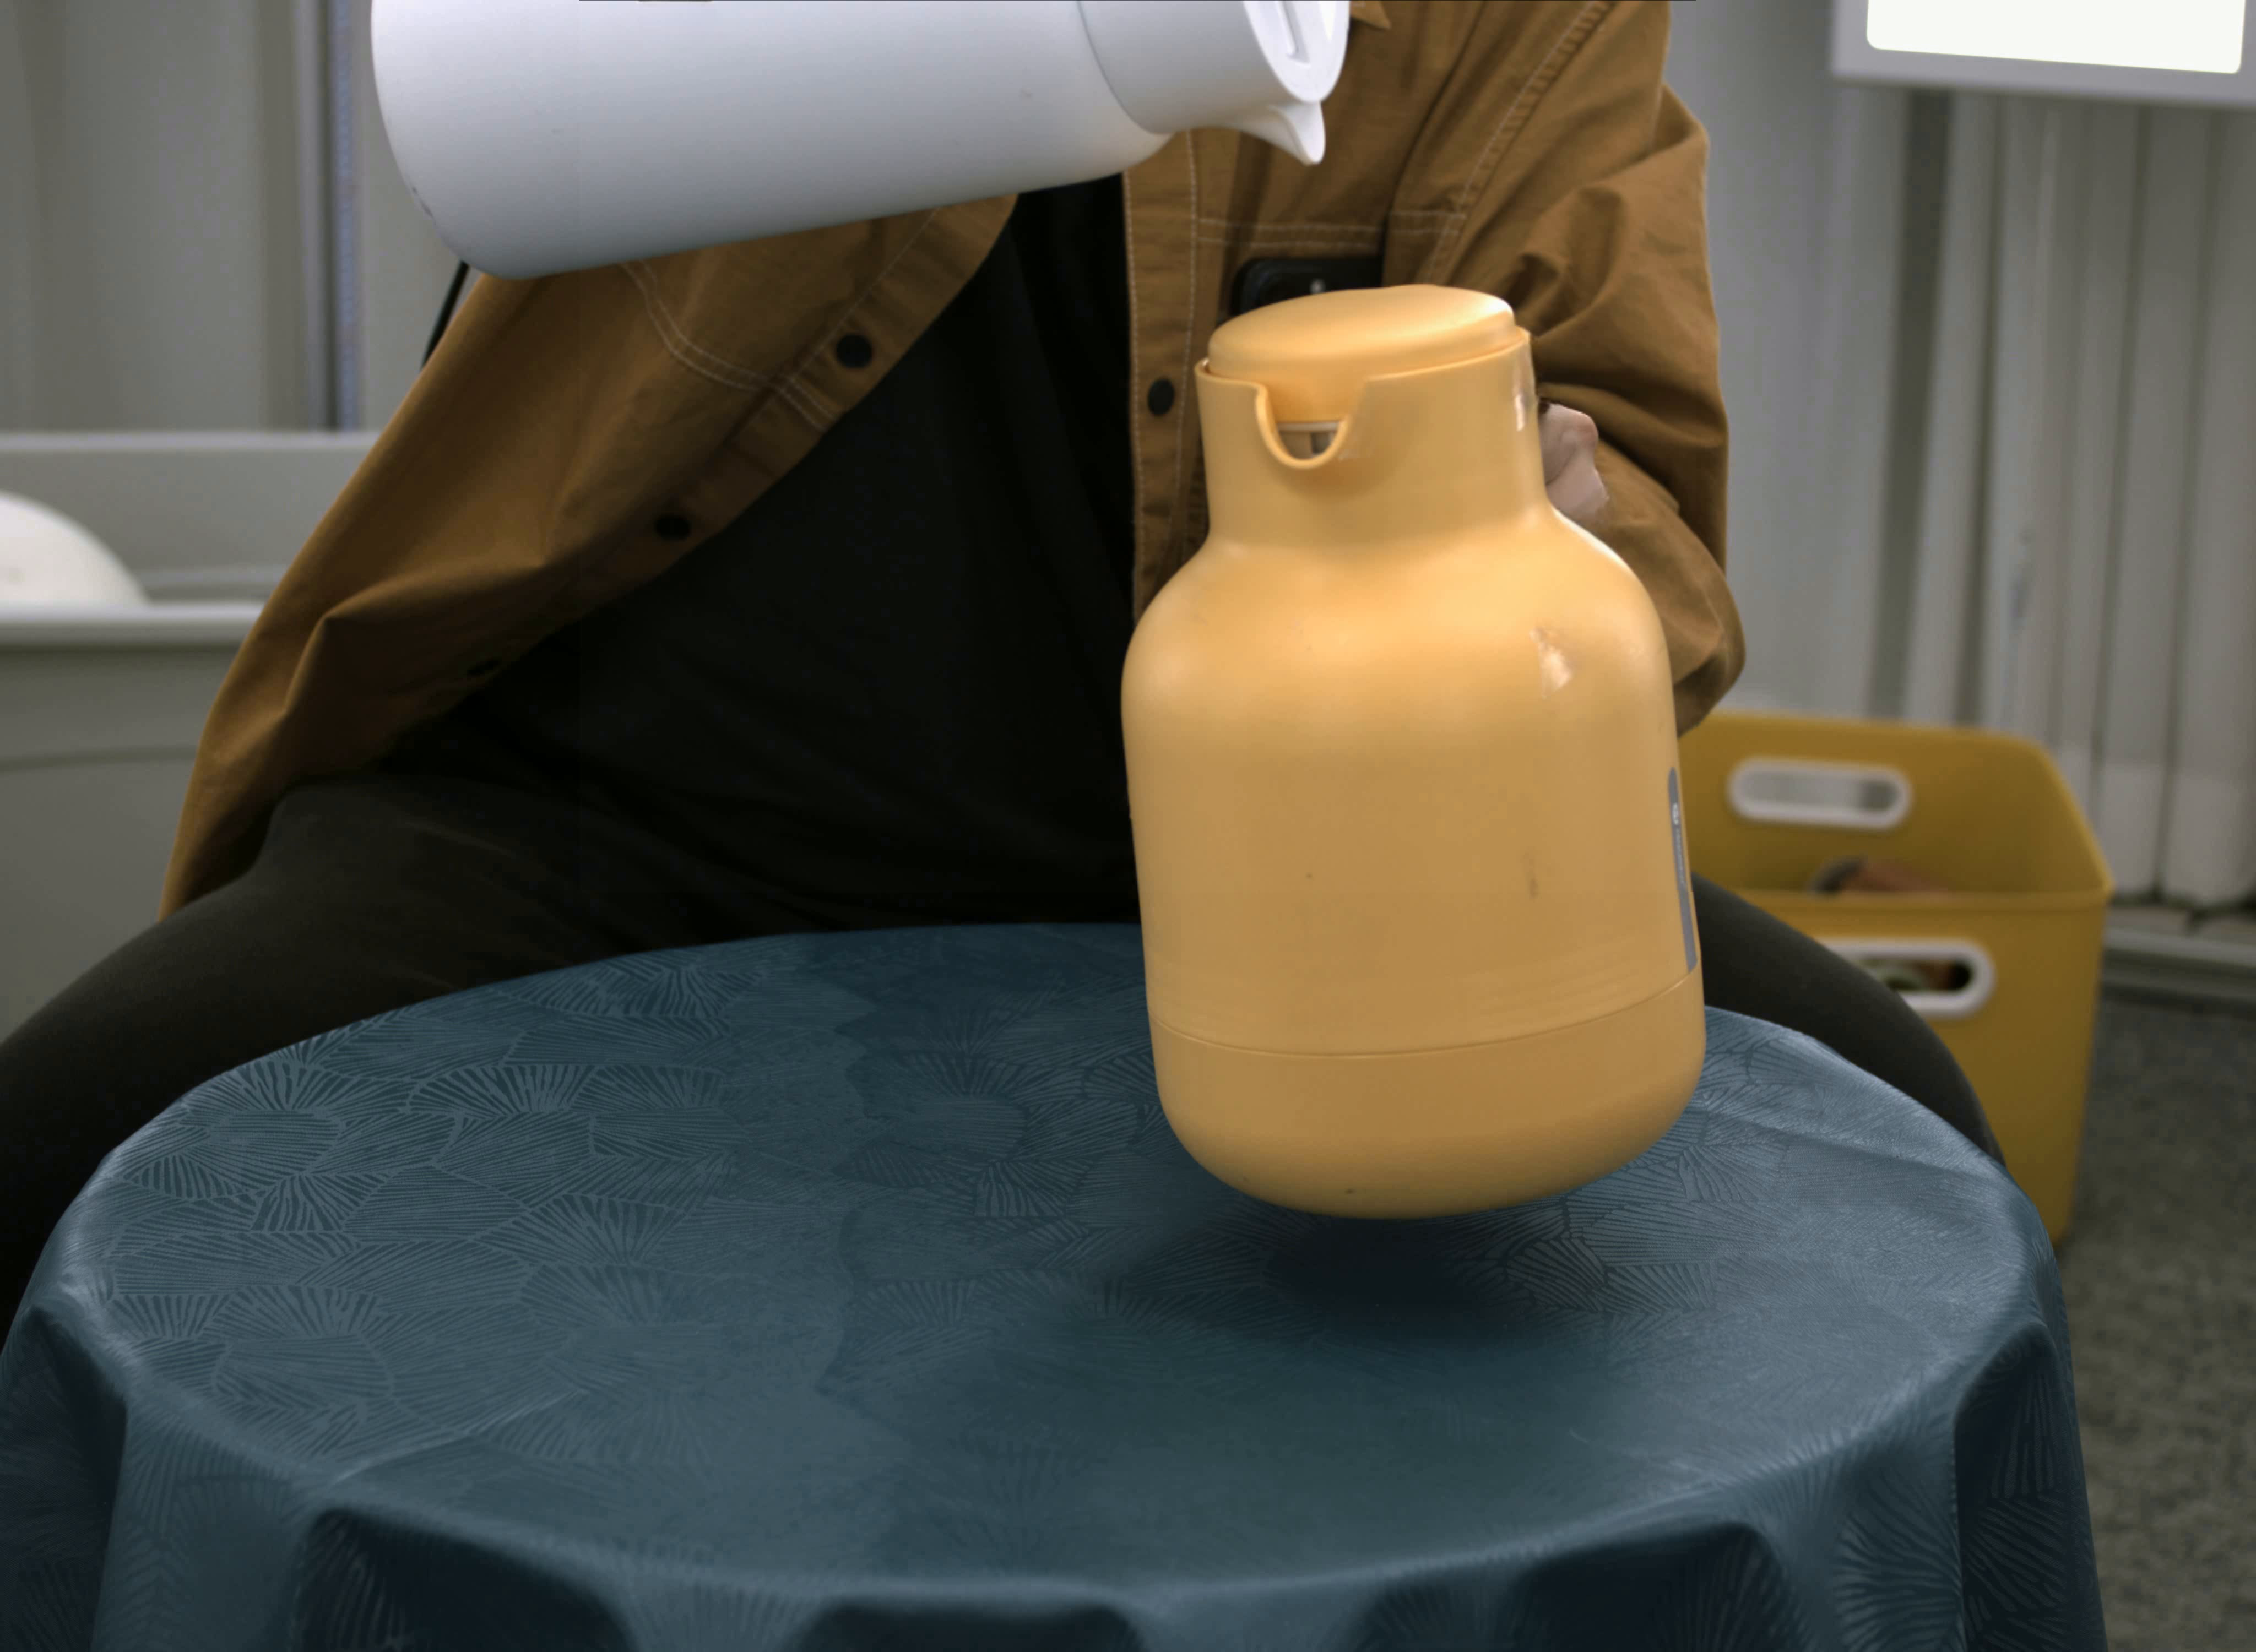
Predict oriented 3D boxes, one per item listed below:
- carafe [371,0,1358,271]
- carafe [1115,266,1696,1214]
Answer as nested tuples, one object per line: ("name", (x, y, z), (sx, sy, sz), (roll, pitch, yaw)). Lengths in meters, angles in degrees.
("carafe", (-0.080, -0.249, 1.490), (0.266, 0.175, 0.123), (-6, 28, 23))
("carafe", (0.085, -0.033, 1.542), (0.162, 0.263, 0.202), (1, 17, 19))
